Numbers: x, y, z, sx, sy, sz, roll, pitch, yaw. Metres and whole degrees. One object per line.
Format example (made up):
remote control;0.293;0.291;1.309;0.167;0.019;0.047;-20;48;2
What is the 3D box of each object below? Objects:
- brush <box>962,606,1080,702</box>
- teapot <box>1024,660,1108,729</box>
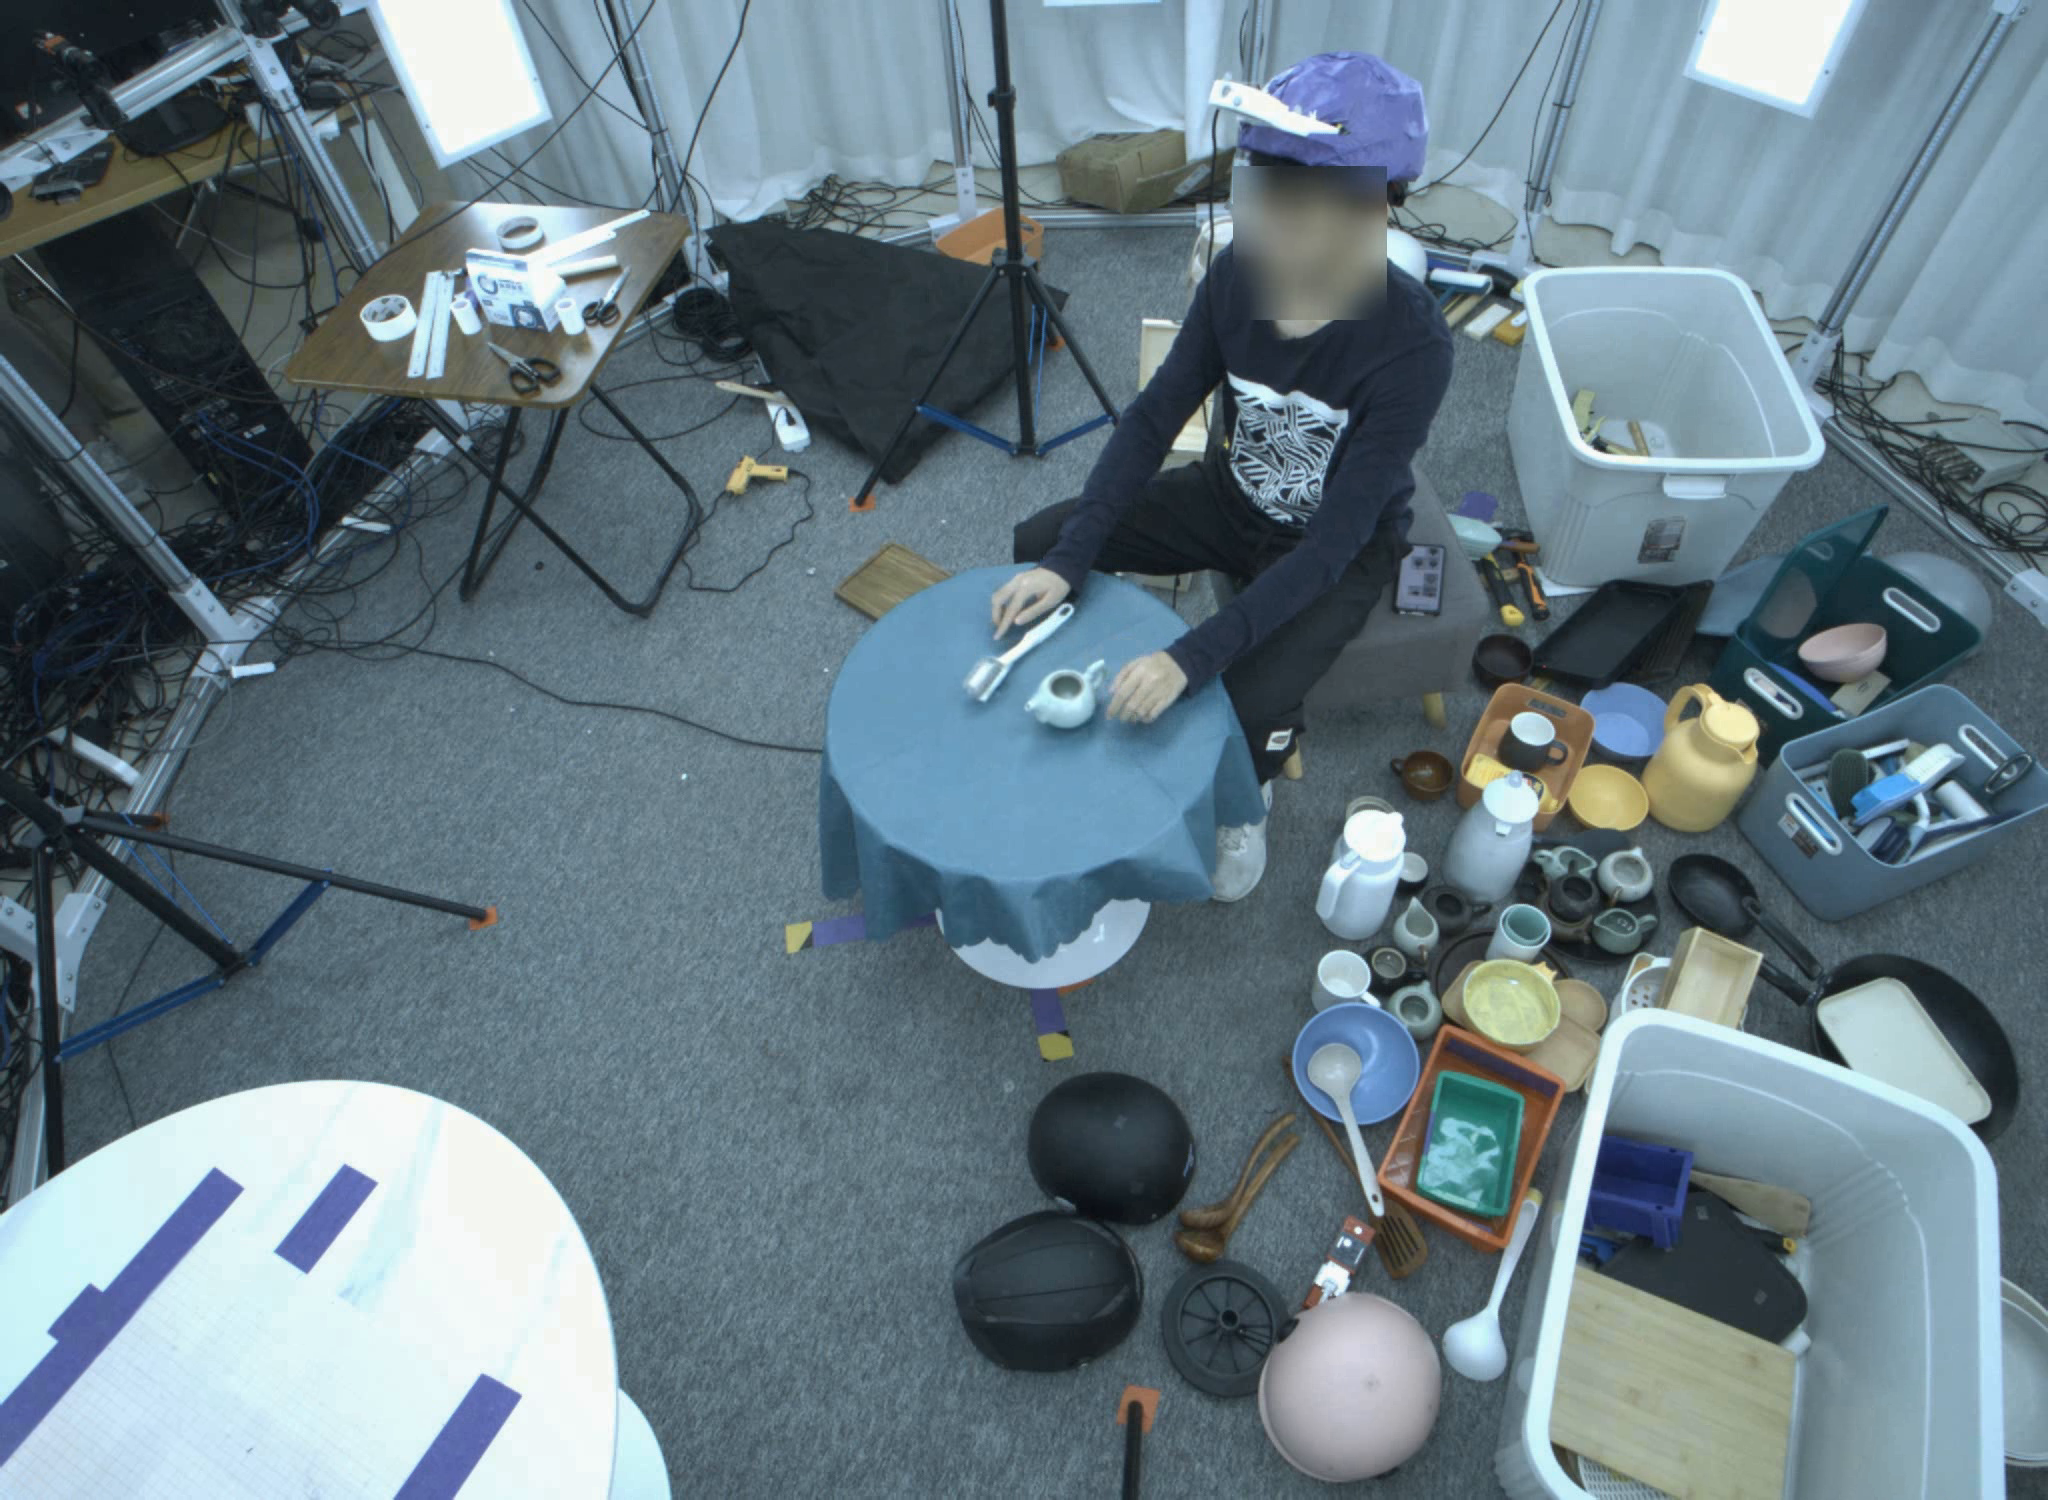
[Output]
brush;-0.001;-0.159;1.865;0.034;0.051;0.245;34;62;28
teapot;0.063;-0.074;1.787;0.145;0.075;0.086;-30;57;-16
